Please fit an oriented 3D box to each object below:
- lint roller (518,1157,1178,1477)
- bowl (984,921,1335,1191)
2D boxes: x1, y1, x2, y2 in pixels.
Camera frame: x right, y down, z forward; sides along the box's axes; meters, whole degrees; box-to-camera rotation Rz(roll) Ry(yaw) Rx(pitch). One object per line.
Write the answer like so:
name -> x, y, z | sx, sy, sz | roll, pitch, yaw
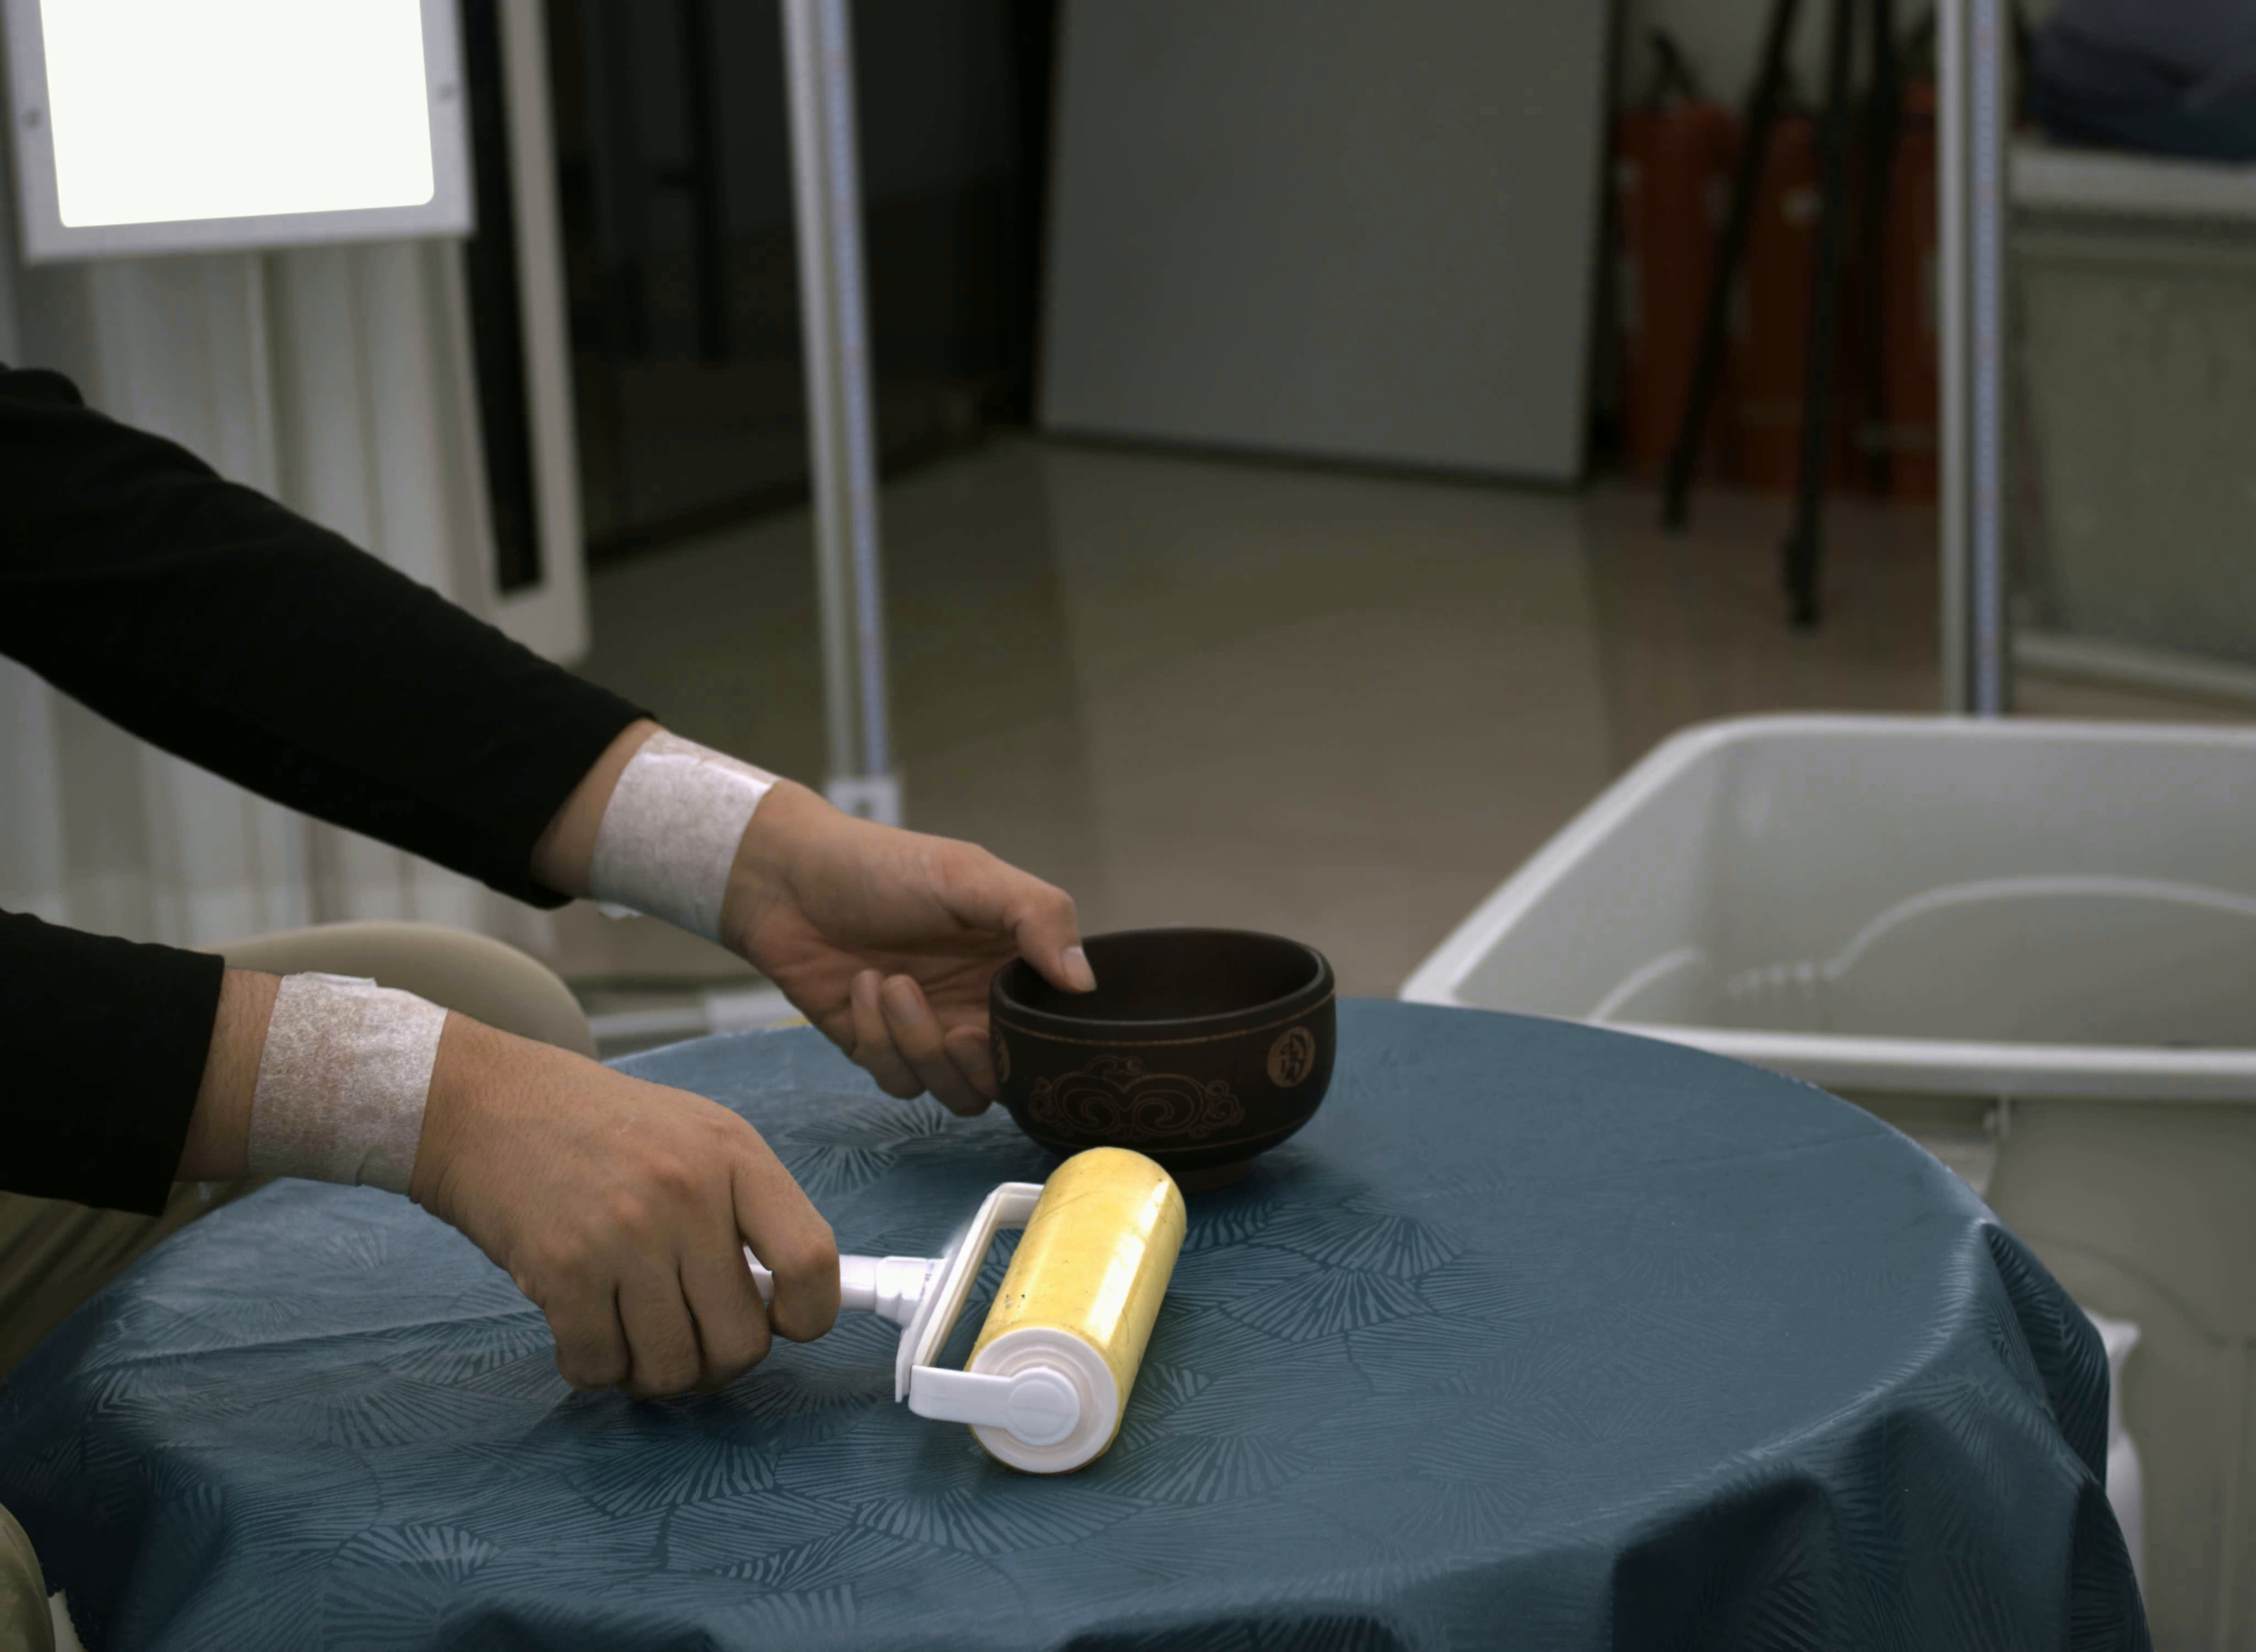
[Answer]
lint roller -> -0.084, 0.128, 1.597 | 0.190, 0.052, 0.174 | 14, 15, 3
bowl -> 0.011, 0.079, 1.779 | 0.116, 0.070, 0.118 | -3, 13, 0
